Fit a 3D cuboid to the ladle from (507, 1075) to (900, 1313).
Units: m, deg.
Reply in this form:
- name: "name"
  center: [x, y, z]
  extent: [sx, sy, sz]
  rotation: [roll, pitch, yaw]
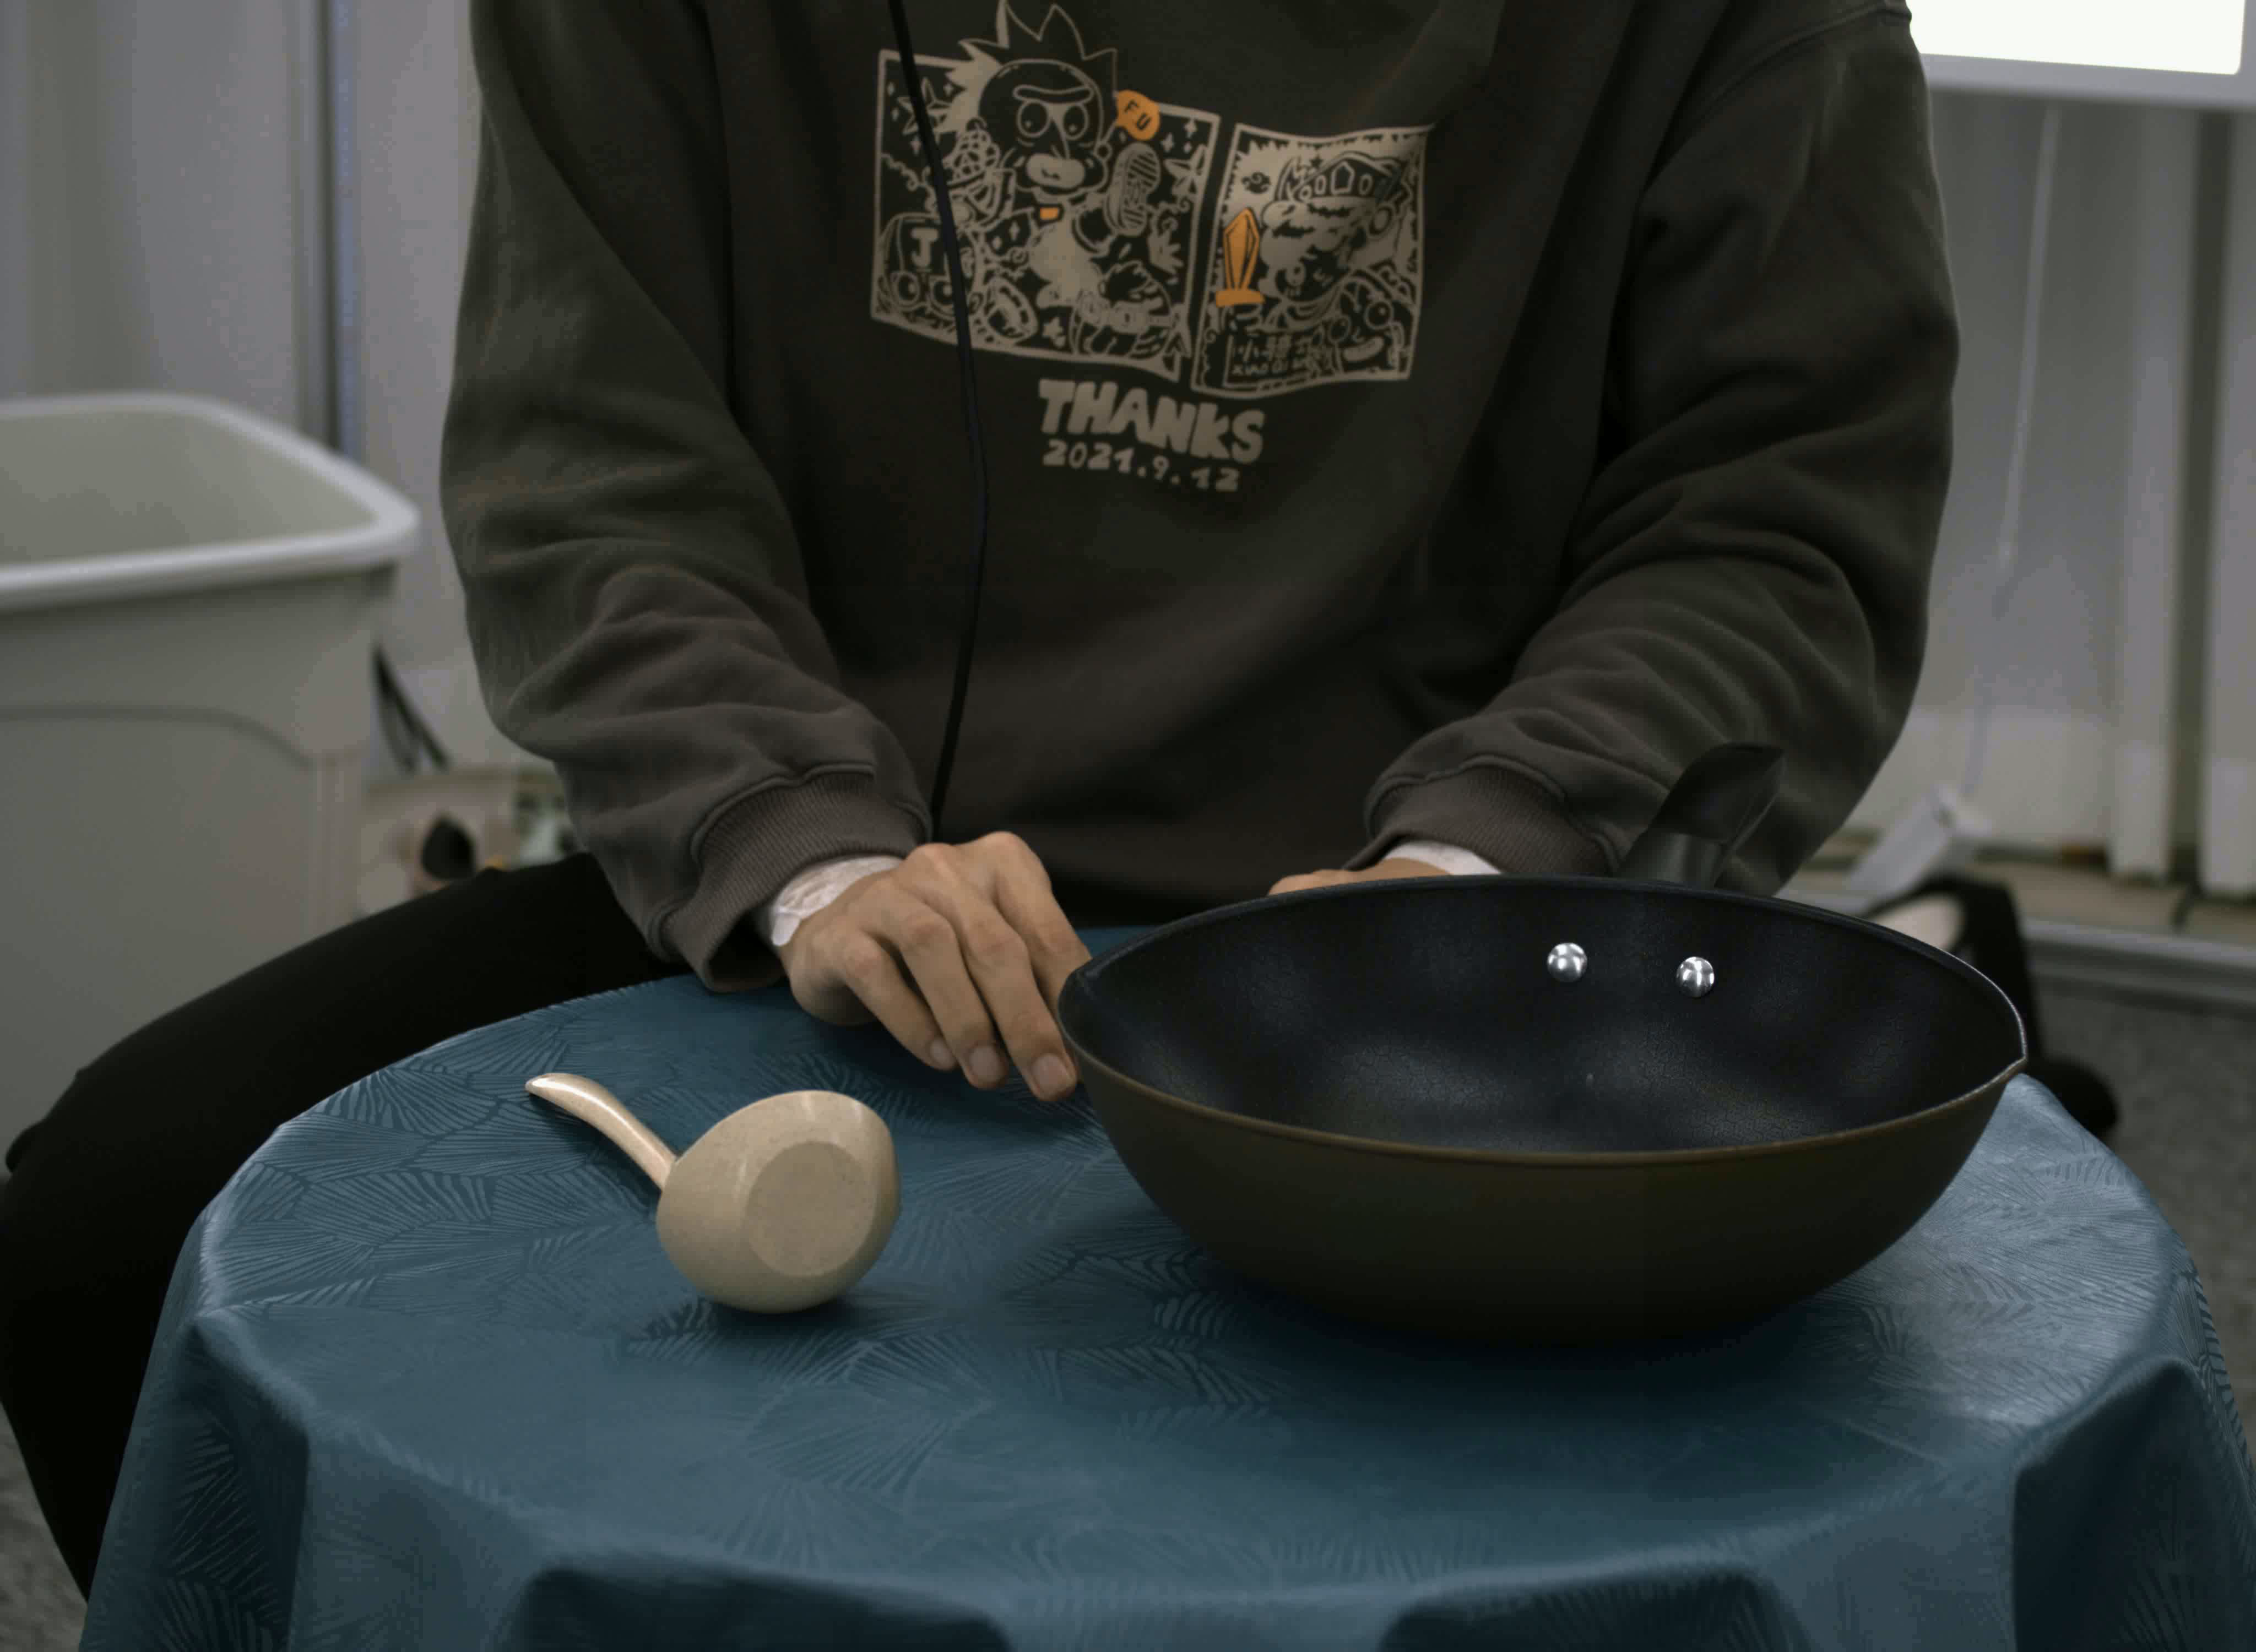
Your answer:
- name: "ladle"
  center: [-0.144, 0.082, 1.600]
  extent: [0.072, 0.073, 0.251]
  rotation: [-13, 20, -24]

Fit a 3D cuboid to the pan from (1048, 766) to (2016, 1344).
- name: "pan"
  center: [0.145, 0.068, 1.642]
  extent: [0.285, 0.087, 0.463]
  rotation: [5, 15, 17]
